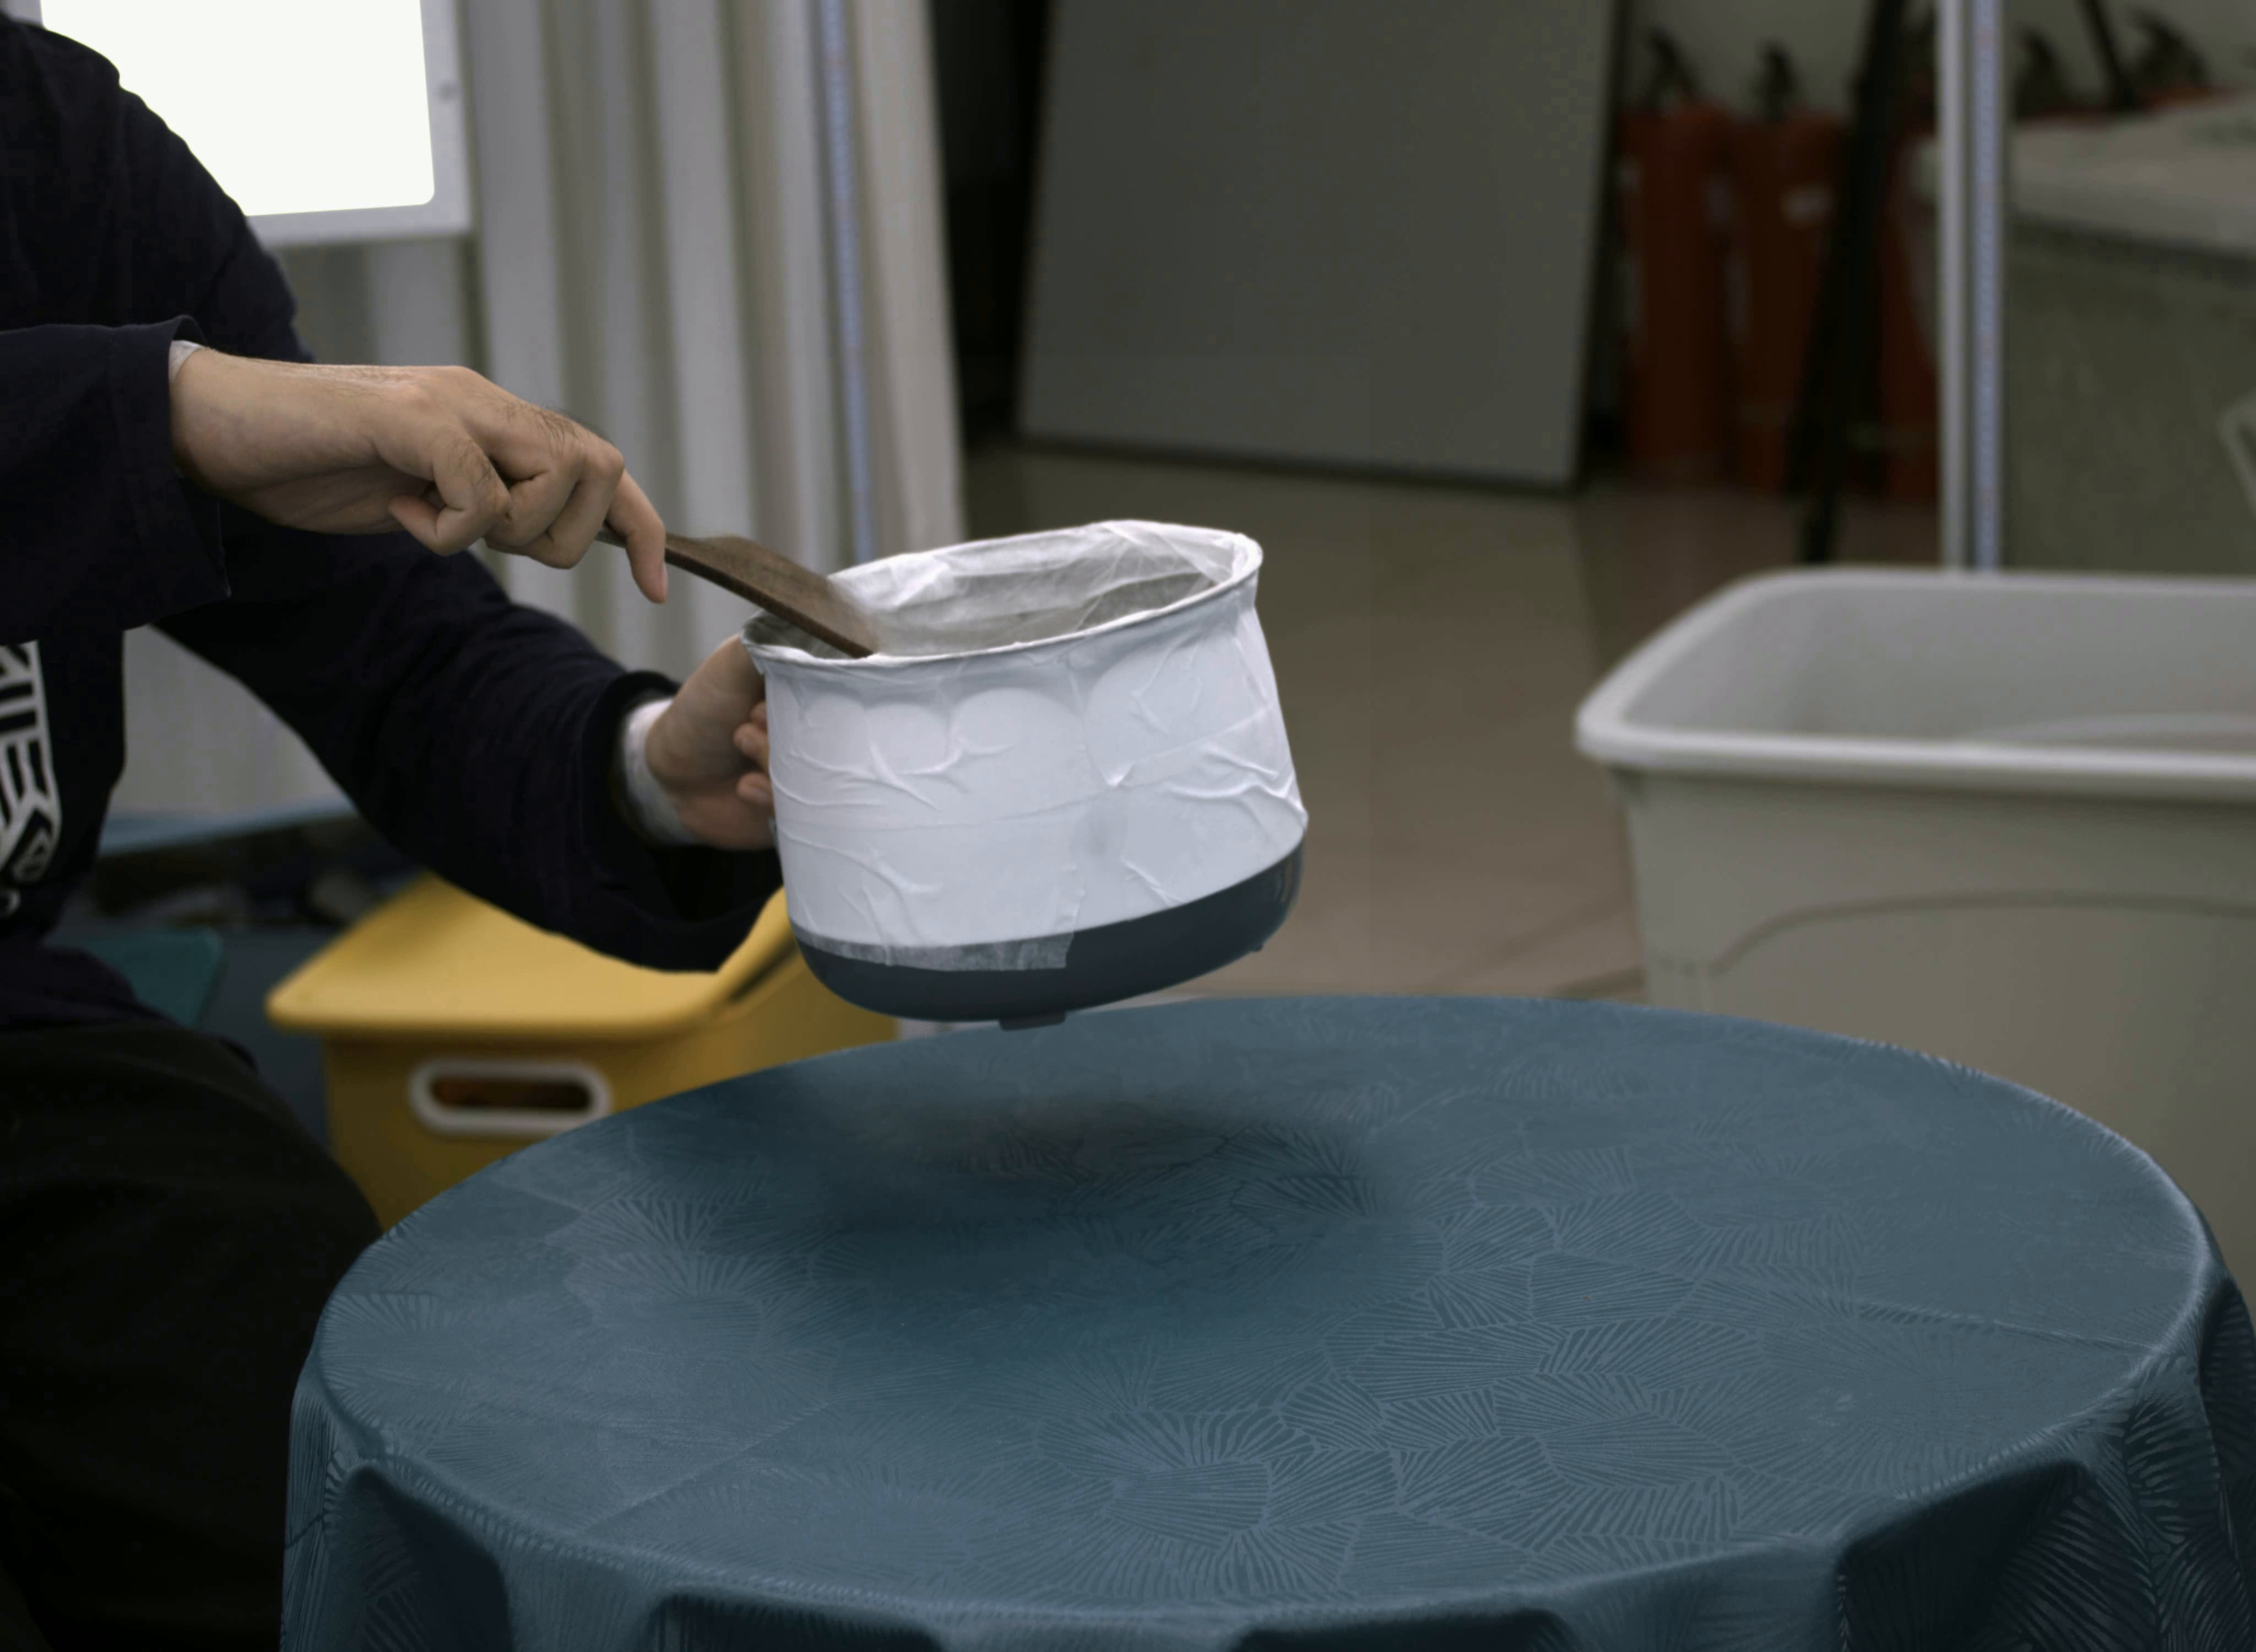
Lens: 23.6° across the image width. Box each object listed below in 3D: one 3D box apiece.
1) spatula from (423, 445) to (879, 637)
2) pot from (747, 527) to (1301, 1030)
[{"bbox_3d":[-0.150,-0.089,1.750,0.211,0.009,0.073,21,15,-45],"label":"spatula"},{"bbox_3d":[-0.050,-0.021,1.821,0.175,0.138,0.236,-16,16,-37],"label":"pot"}]
